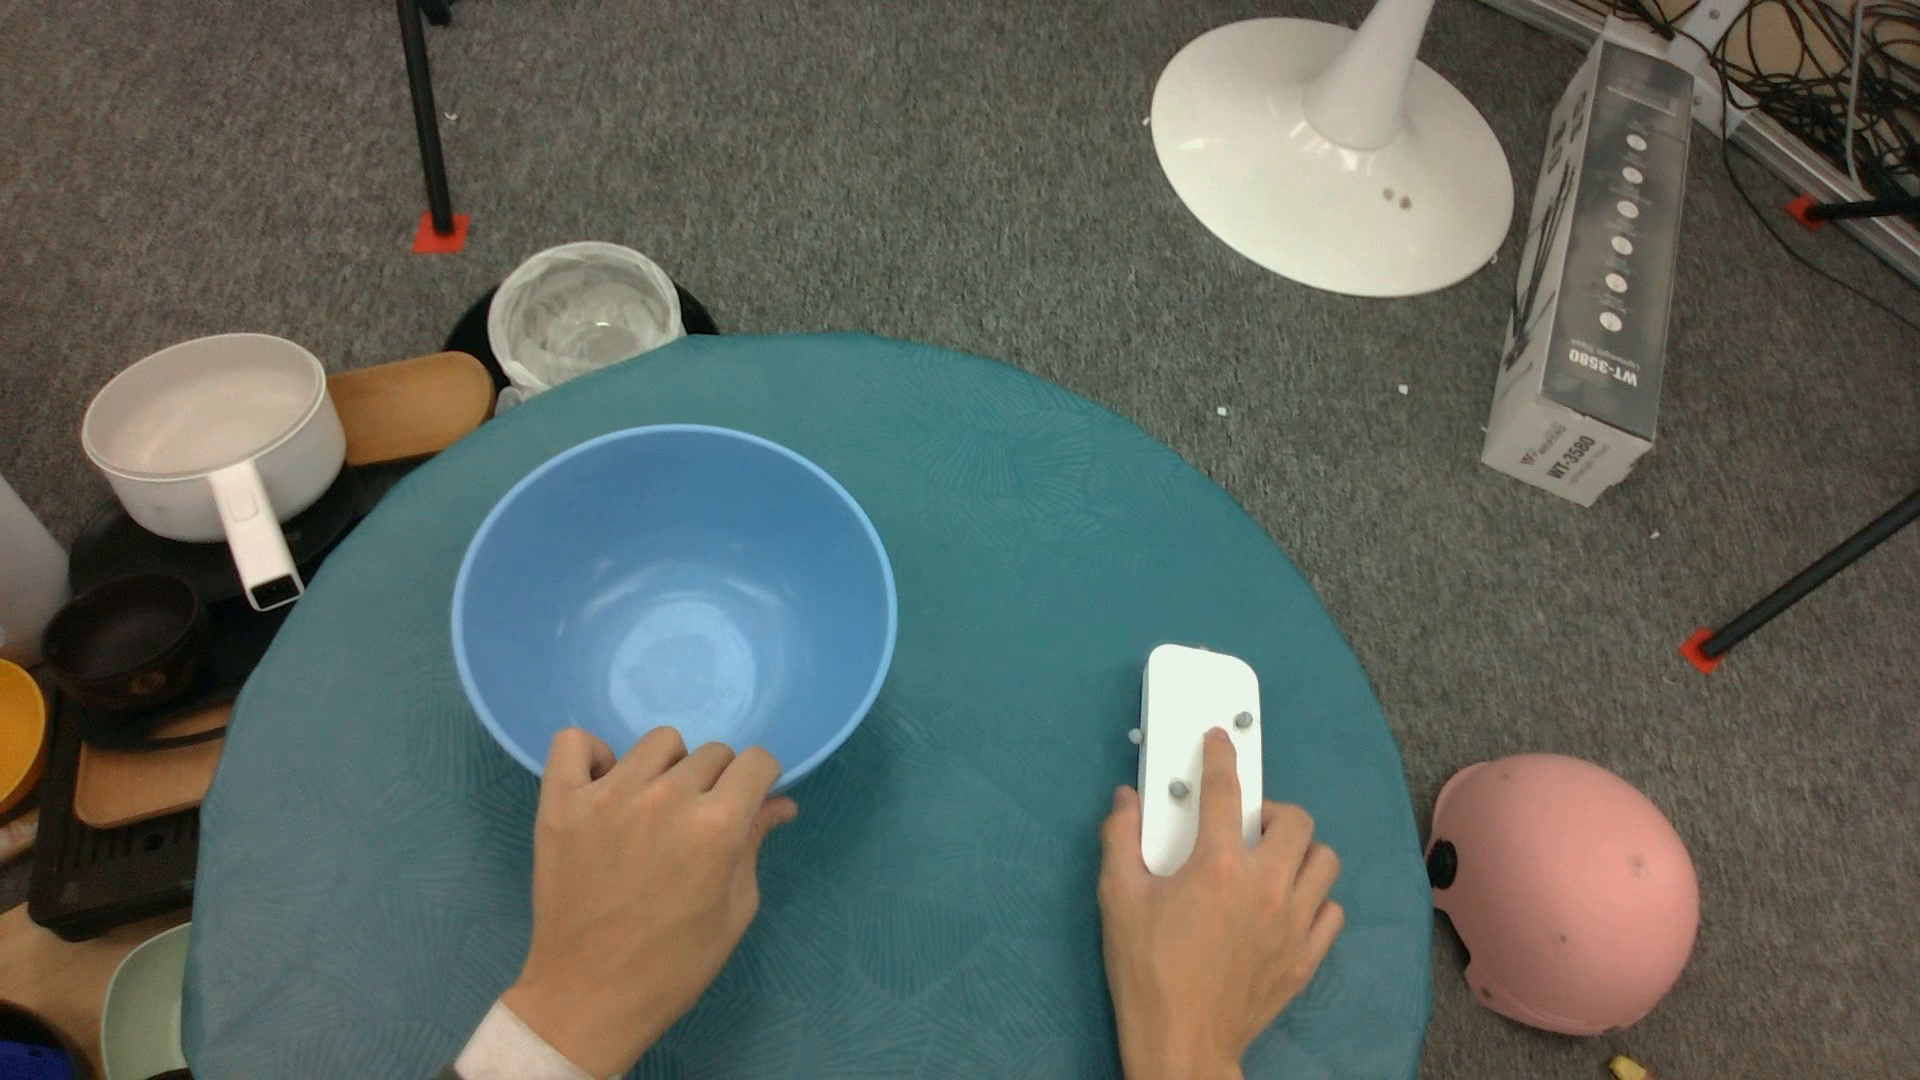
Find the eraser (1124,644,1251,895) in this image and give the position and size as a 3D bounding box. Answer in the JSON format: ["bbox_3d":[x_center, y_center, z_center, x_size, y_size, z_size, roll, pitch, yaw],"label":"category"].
[{"bbox_3d":[0.115,0.115,0.709,0.063,0.034,0.132,12,55,-6],"label":"eraser"}]

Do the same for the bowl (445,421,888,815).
[{"bbox_3d":[-0.137,0.049,0.663,0.196,0.095,0.197,5,58,-8],"label":"bowl"}]
